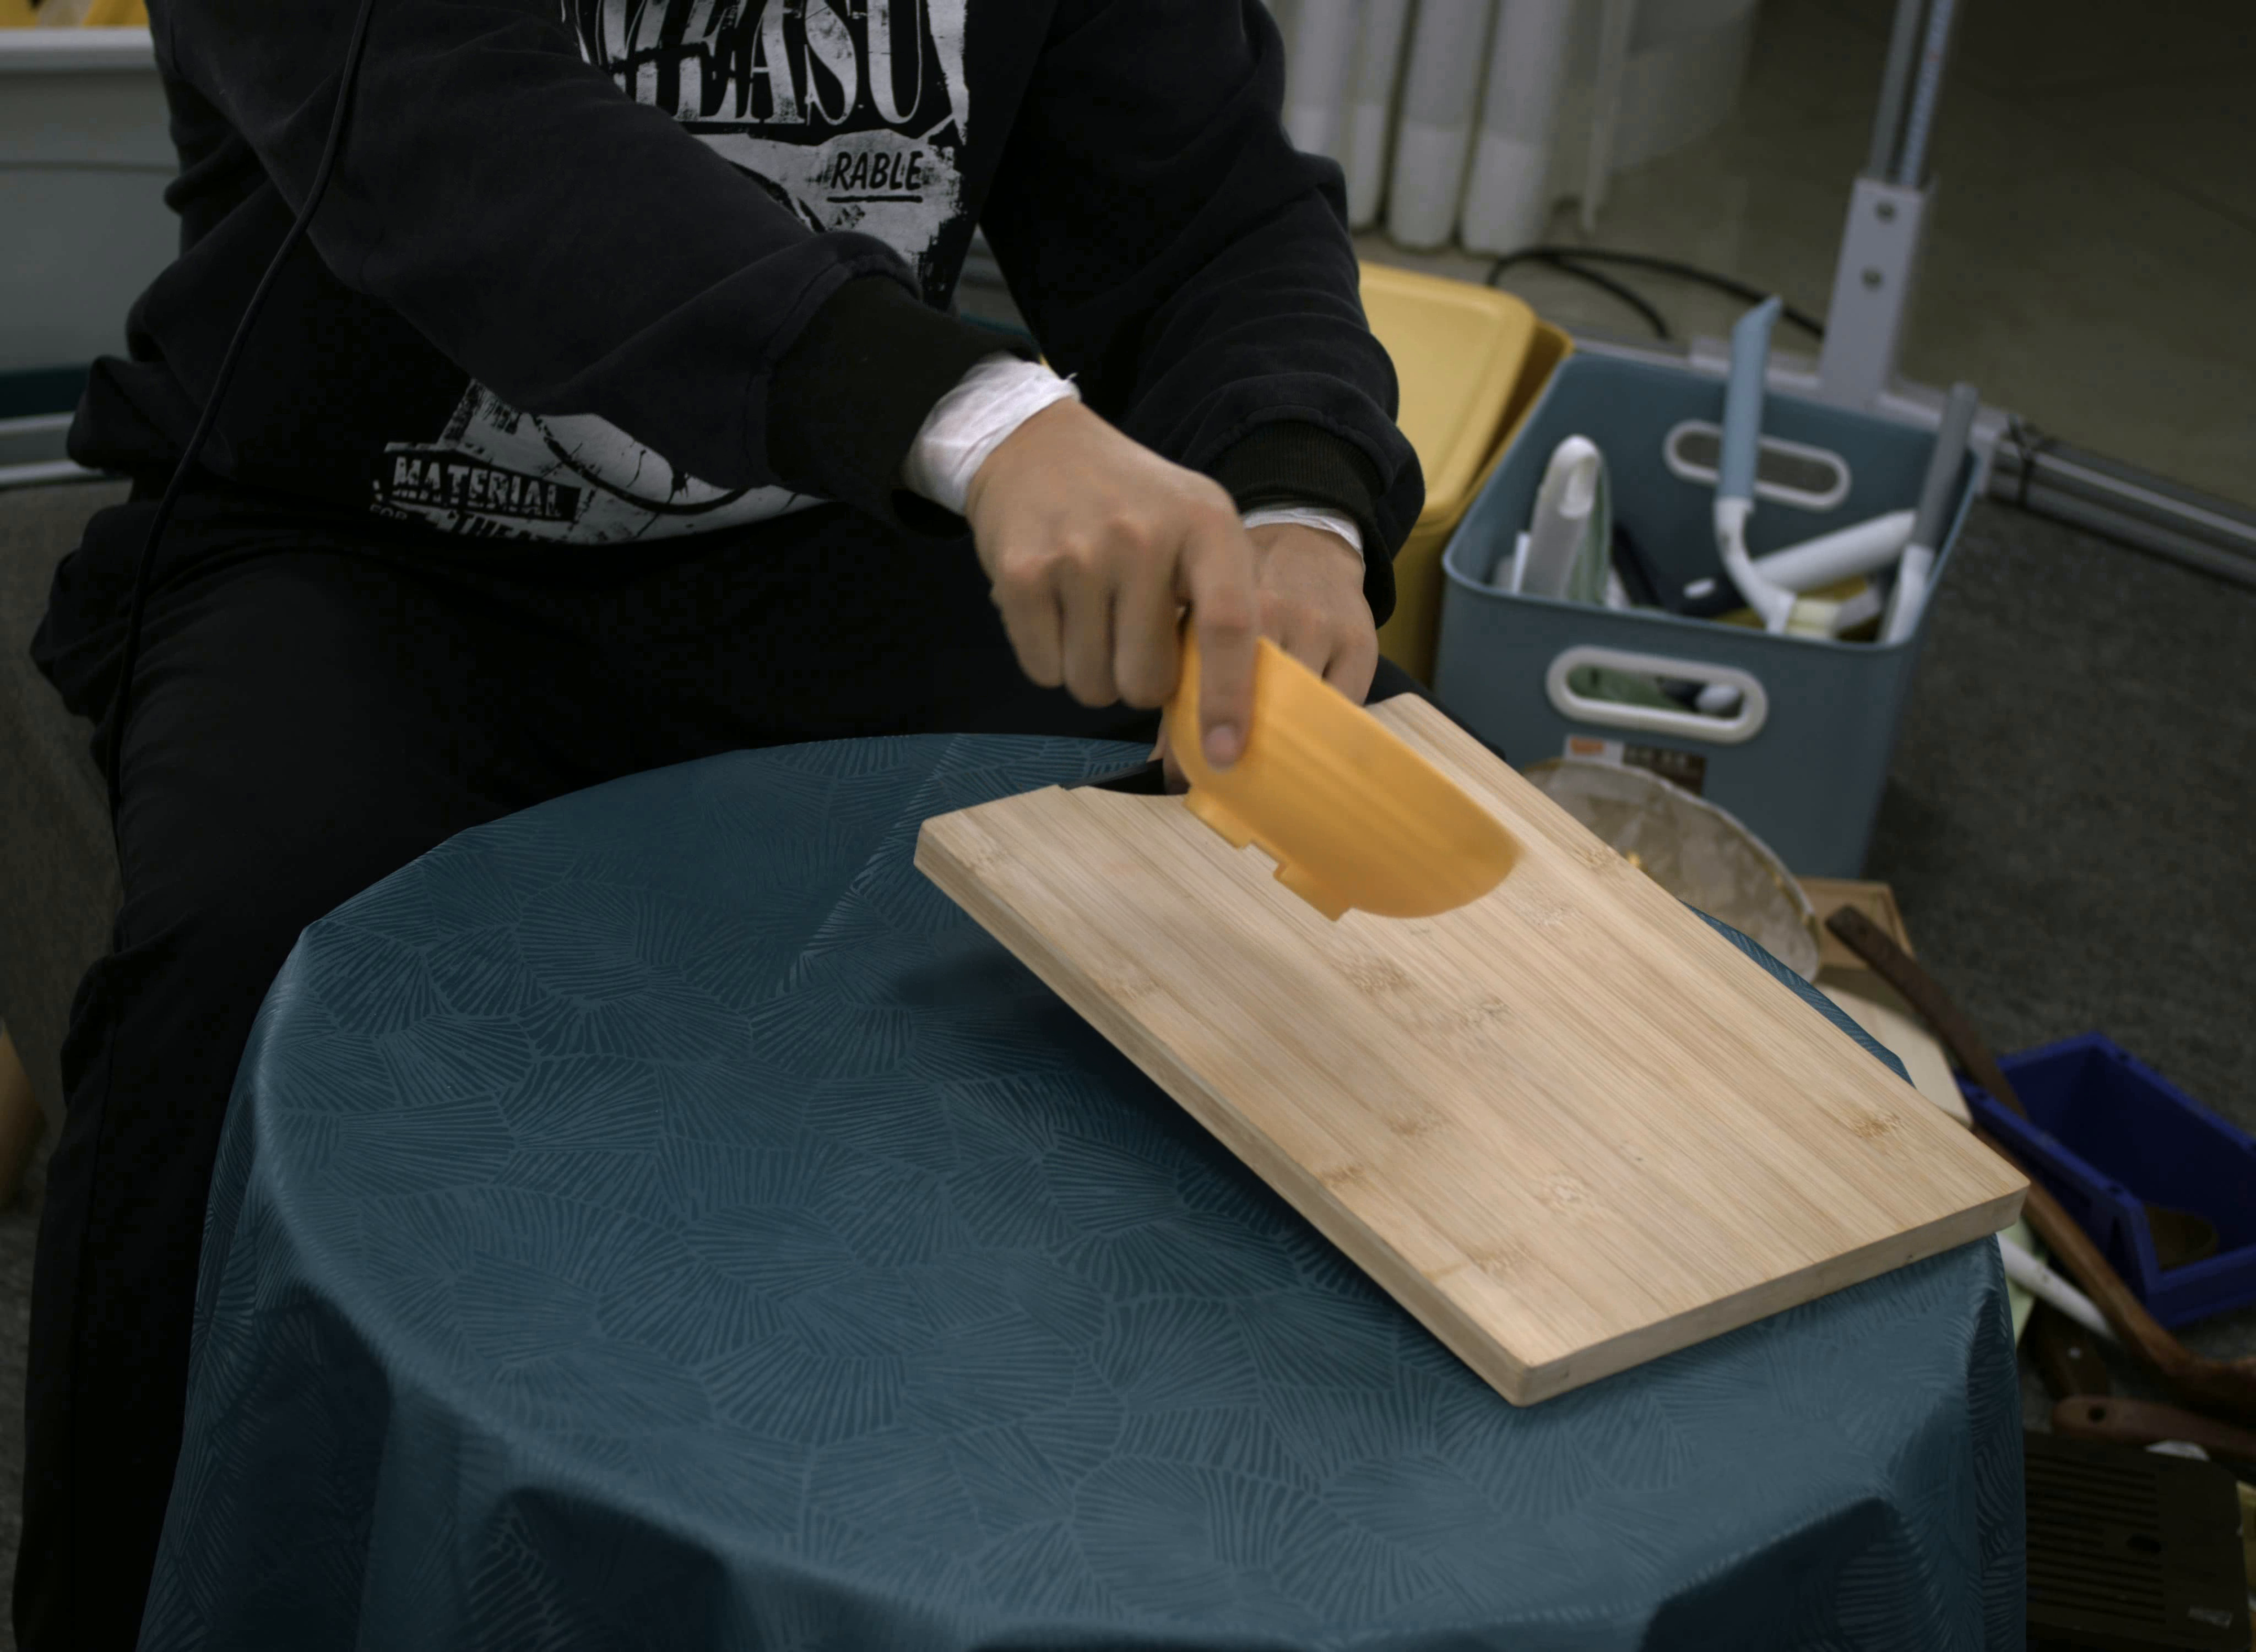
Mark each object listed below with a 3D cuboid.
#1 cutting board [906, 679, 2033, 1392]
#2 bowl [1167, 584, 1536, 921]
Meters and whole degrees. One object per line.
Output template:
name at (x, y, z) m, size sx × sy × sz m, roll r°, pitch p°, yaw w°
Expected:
cutting board at (0.116, 0.065, 1.878) m, size 0.249 × 0.023 × 0.352 m, roll -15°, pitch 41°, yaw -37°
bowl at (0.061, -0.012, 1.758) m, size 0.145 × 0.060 × 0.145 m, roll 39°, pitch -5°, yaw 4°
